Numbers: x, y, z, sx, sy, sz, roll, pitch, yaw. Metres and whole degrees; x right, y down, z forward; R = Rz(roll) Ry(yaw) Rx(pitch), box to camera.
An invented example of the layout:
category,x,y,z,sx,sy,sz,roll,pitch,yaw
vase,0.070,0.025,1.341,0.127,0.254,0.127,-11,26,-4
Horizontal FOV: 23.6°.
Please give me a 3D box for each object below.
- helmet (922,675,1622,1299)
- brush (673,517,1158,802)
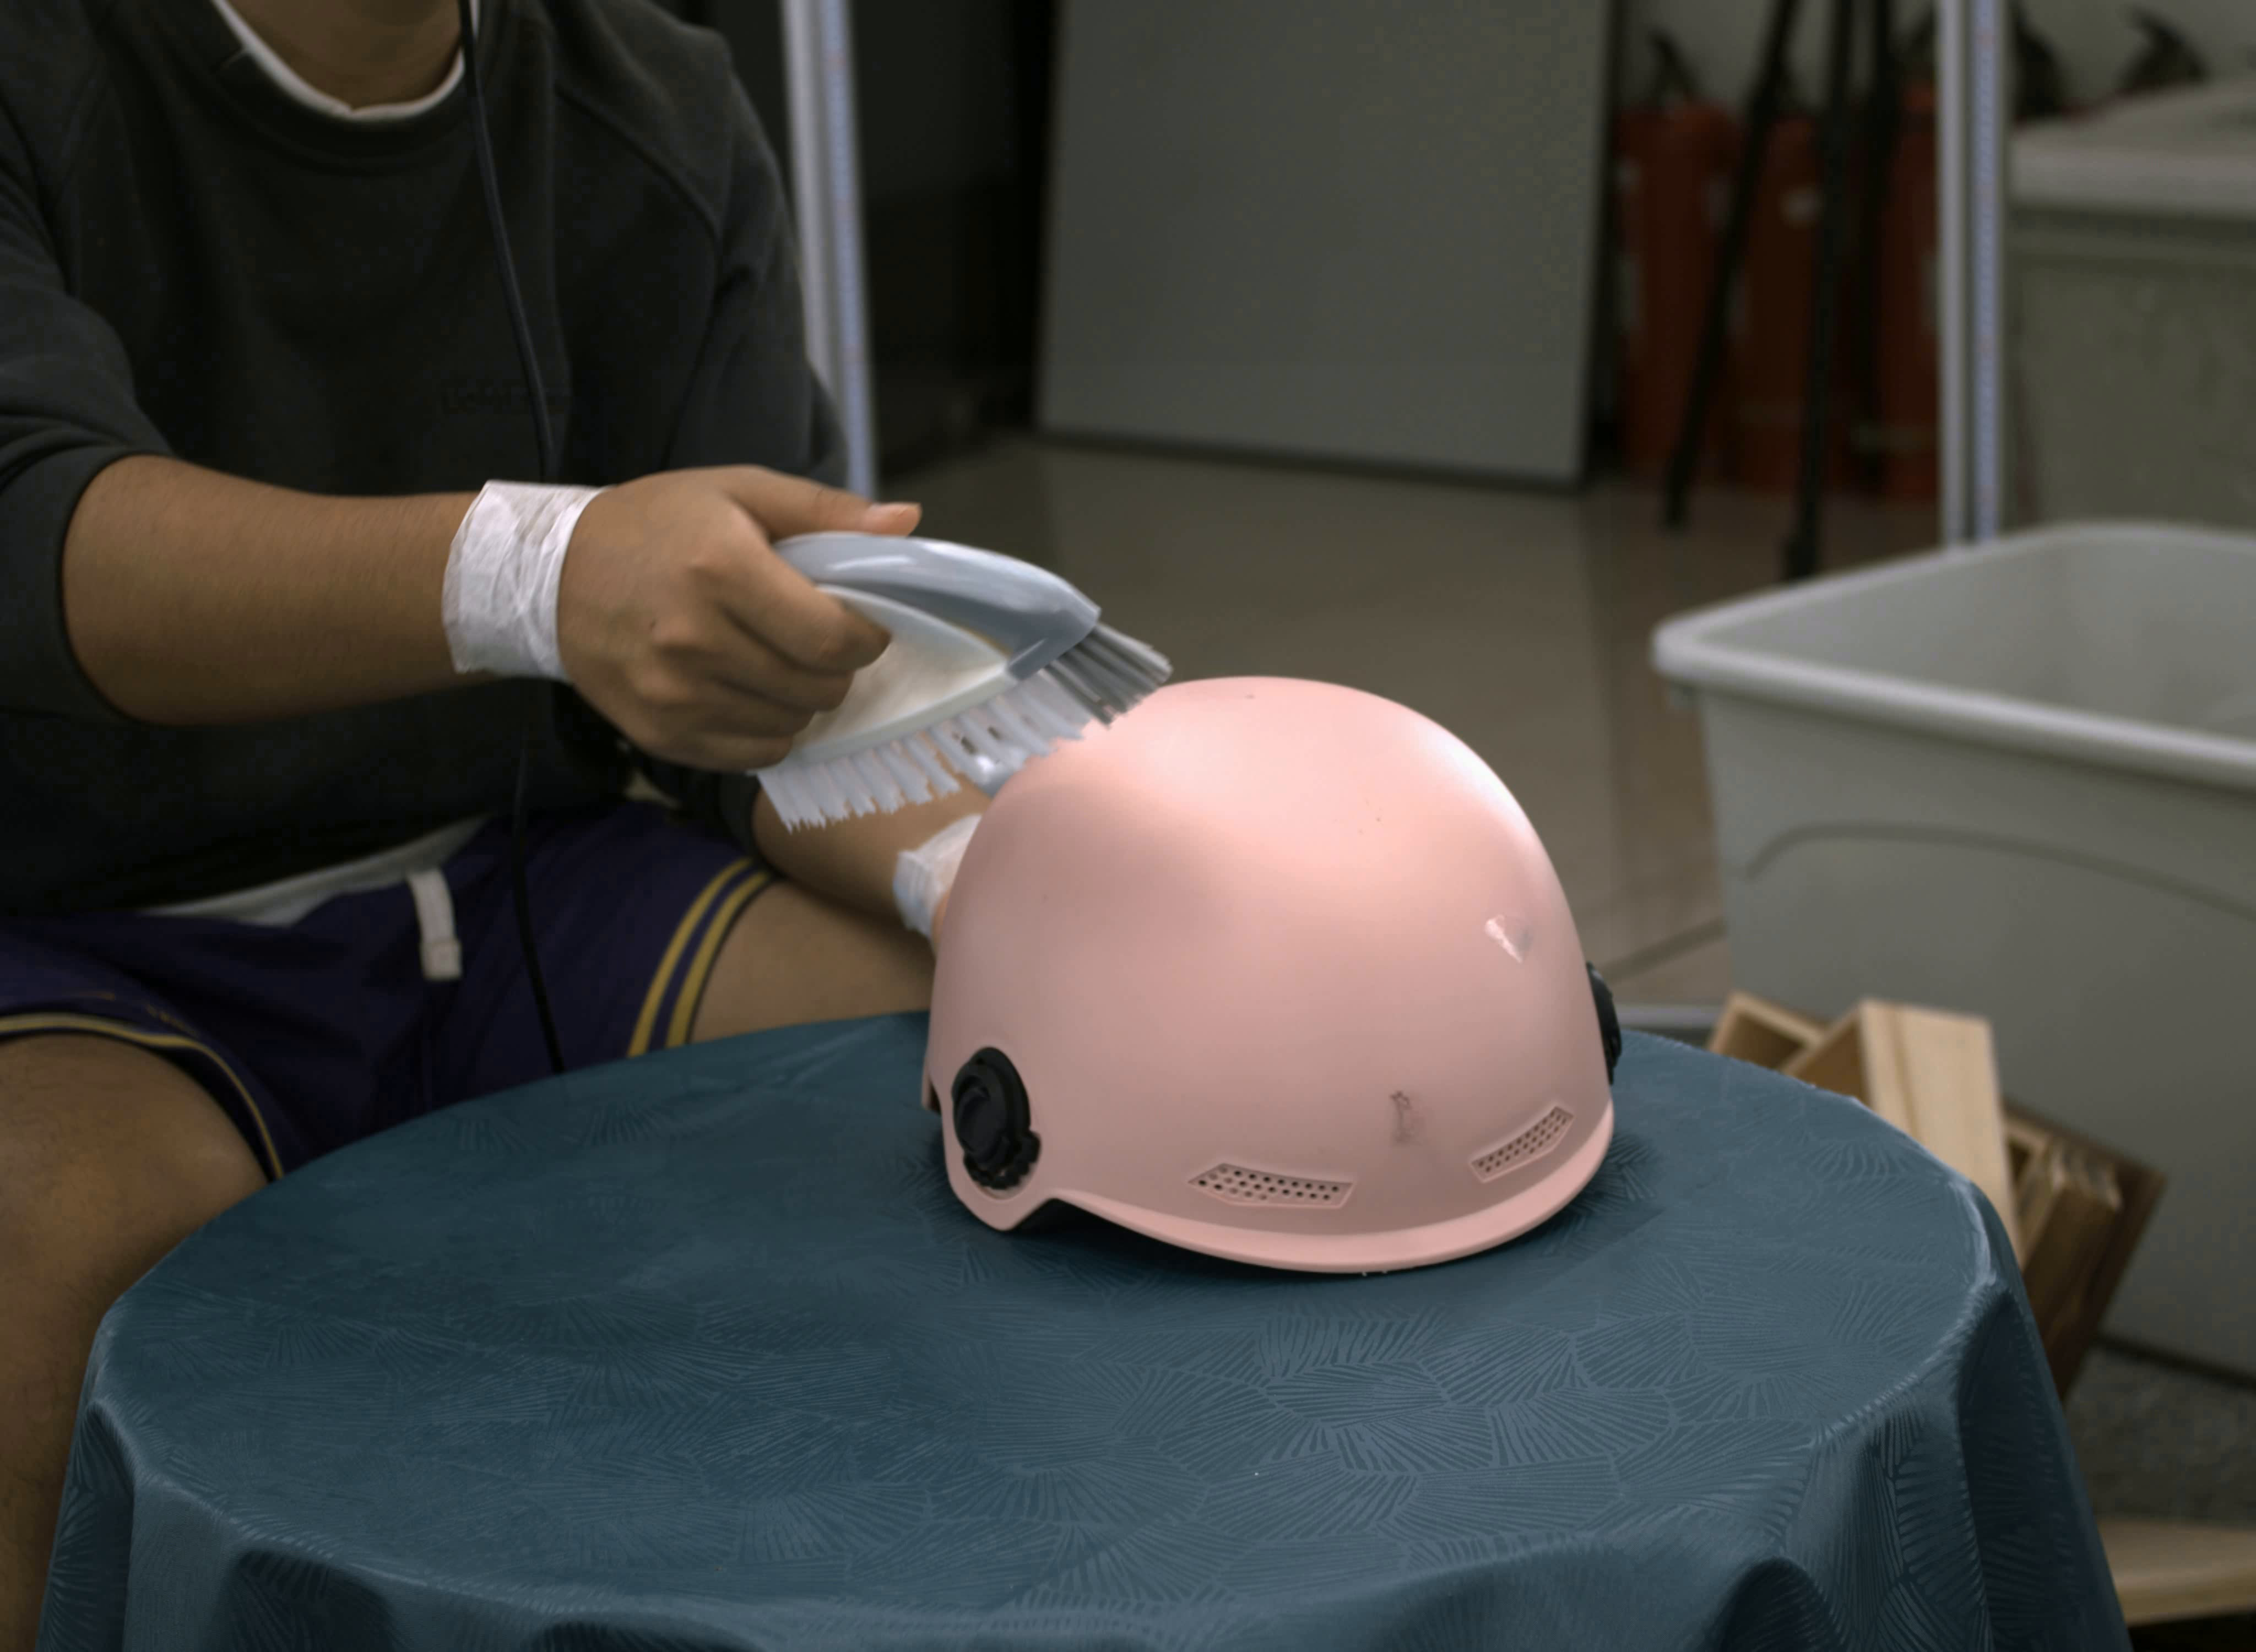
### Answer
category,x,y,z,sx,sy,sz,roll,pitch,yaw
helmet,0.046,0.039,1.768,0.229,0.160,0.268,-8,20,-19
brush,-0.073,-0.062,1.672,0.177,0.093,0.061,-9,46,49
